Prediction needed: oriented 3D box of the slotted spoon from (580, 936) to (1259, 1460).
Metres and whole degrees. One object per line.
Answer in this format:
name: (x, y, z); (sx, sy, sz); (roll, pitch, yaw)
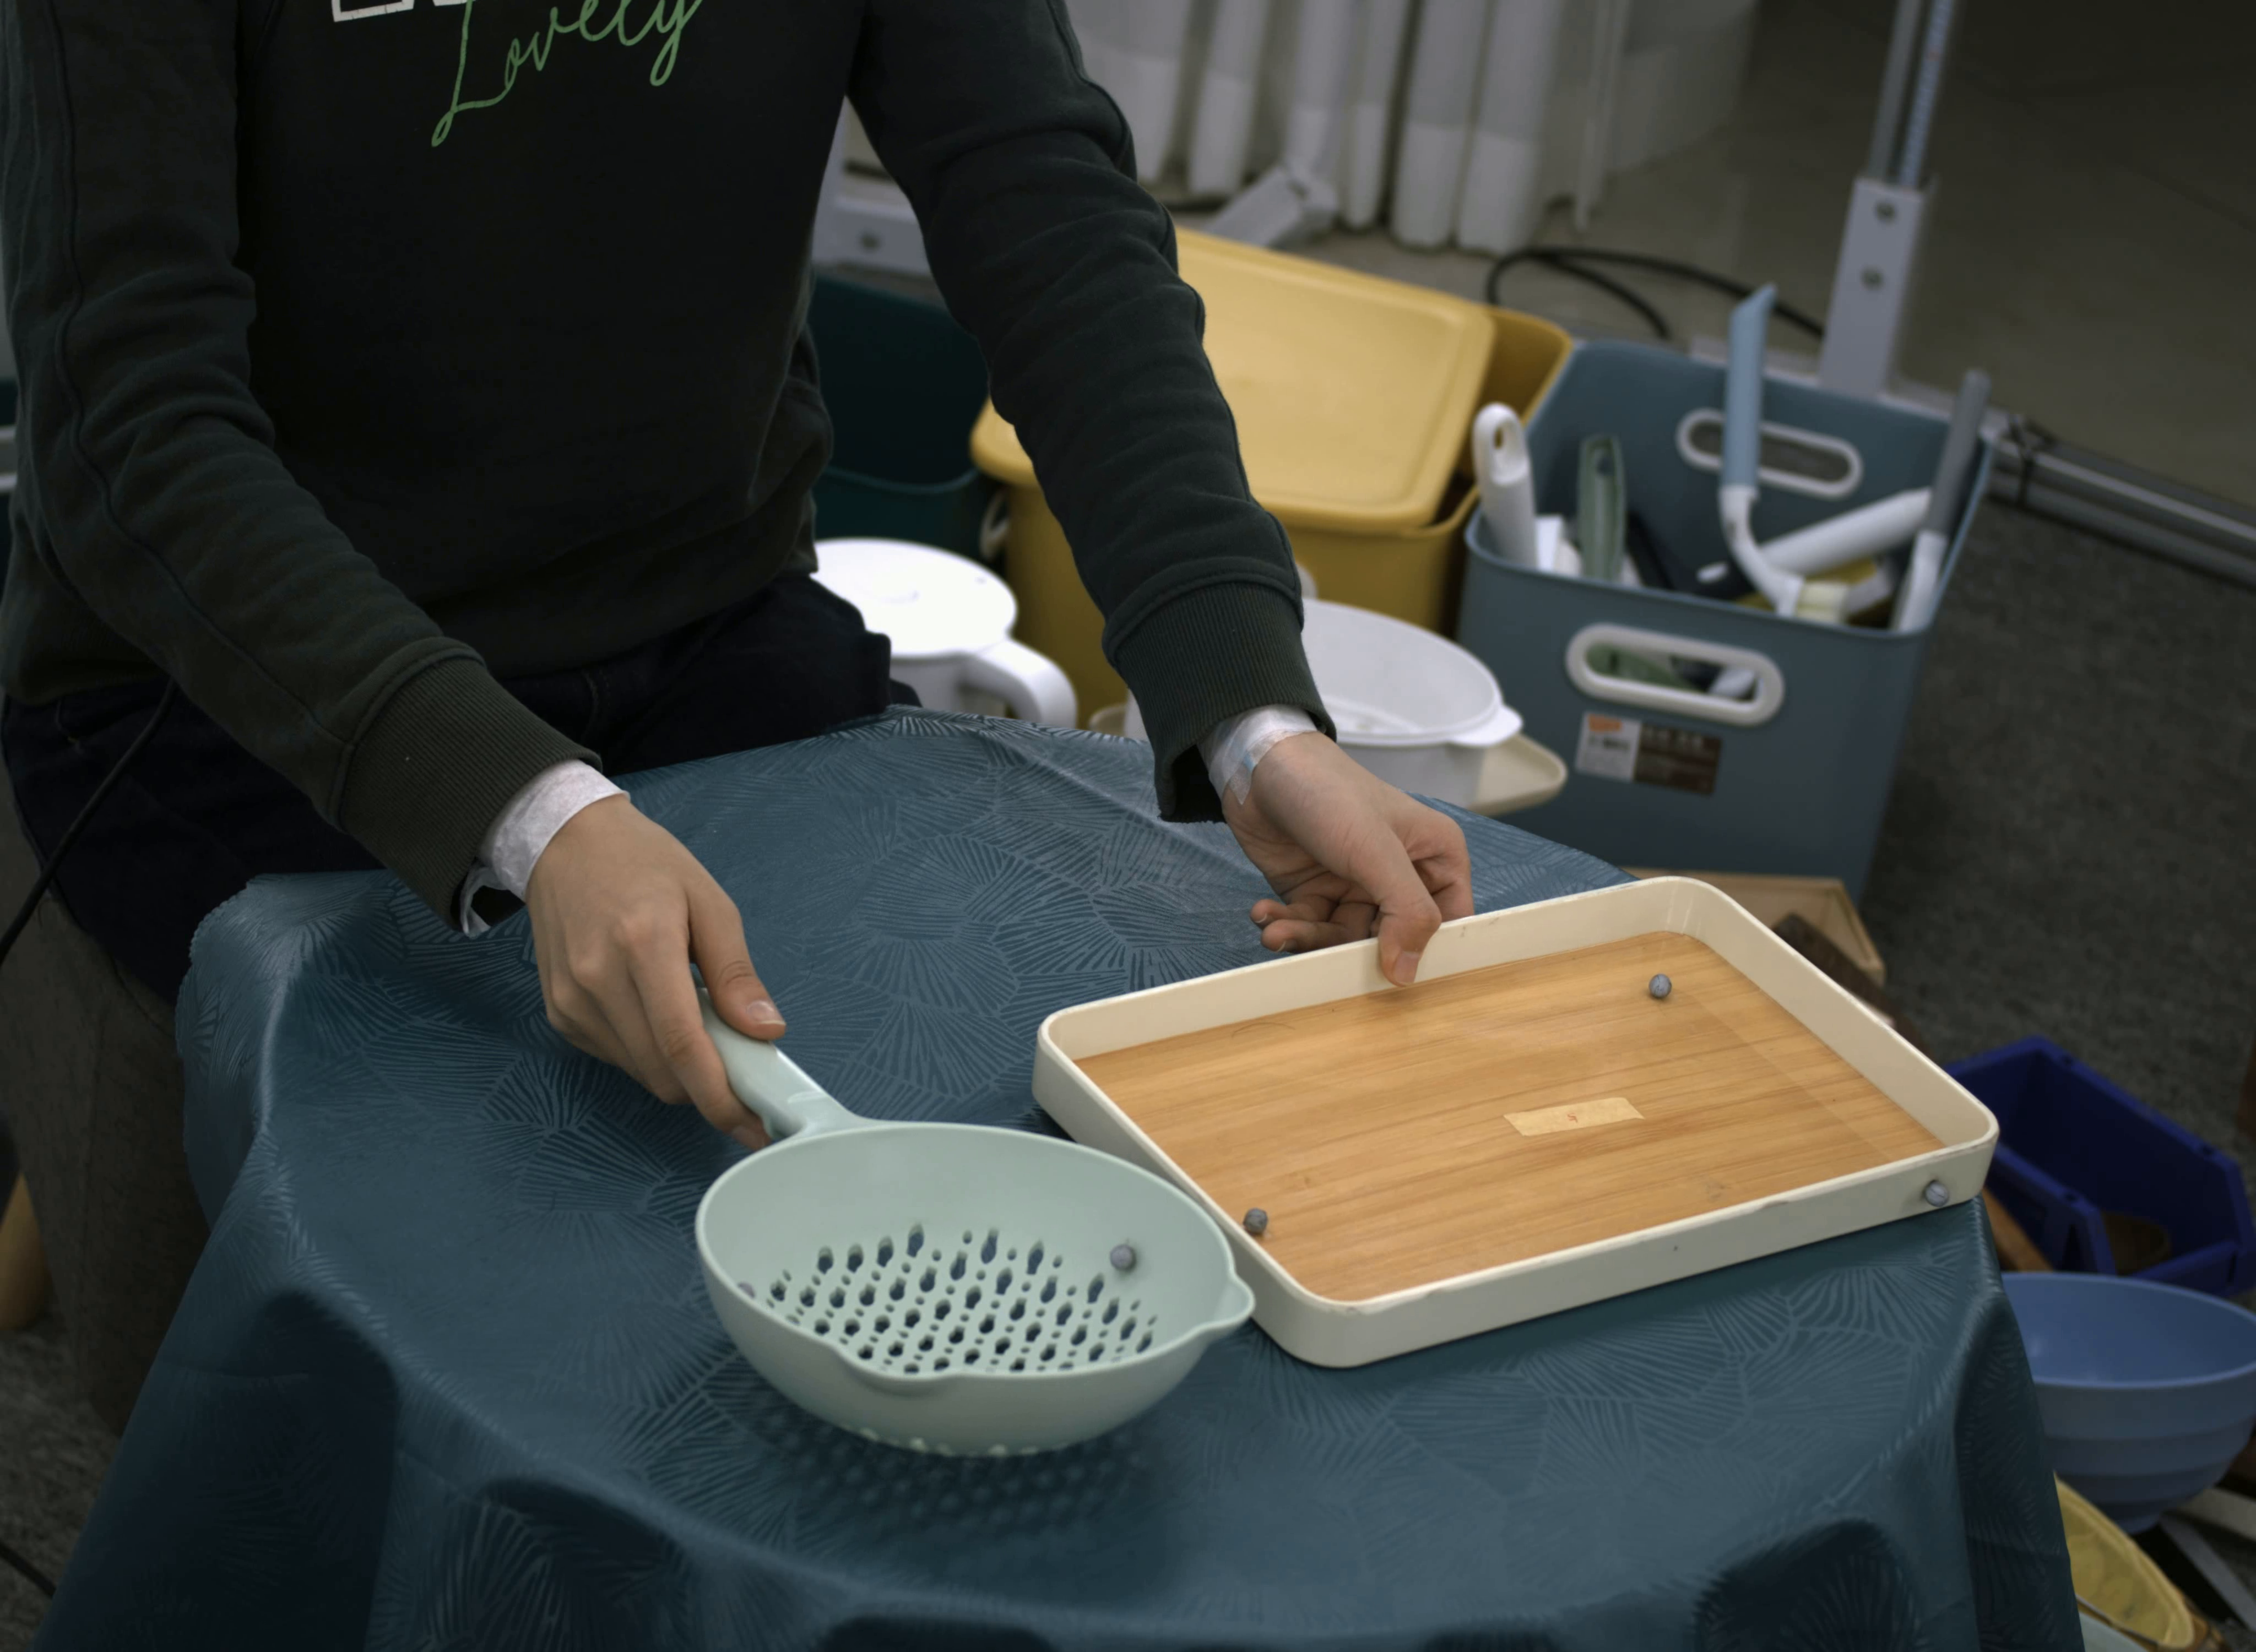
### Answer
slotted spoon: (-0.099, 0.105, 1.733); (0.168, 0.075, 0.362); (-6, 33, -29)

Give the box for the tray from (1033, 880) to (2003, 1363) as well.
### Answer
tray: (0.135, 0.097, 1.842); (0.298, 0.027, 0.193); (-10, 34, -31)
